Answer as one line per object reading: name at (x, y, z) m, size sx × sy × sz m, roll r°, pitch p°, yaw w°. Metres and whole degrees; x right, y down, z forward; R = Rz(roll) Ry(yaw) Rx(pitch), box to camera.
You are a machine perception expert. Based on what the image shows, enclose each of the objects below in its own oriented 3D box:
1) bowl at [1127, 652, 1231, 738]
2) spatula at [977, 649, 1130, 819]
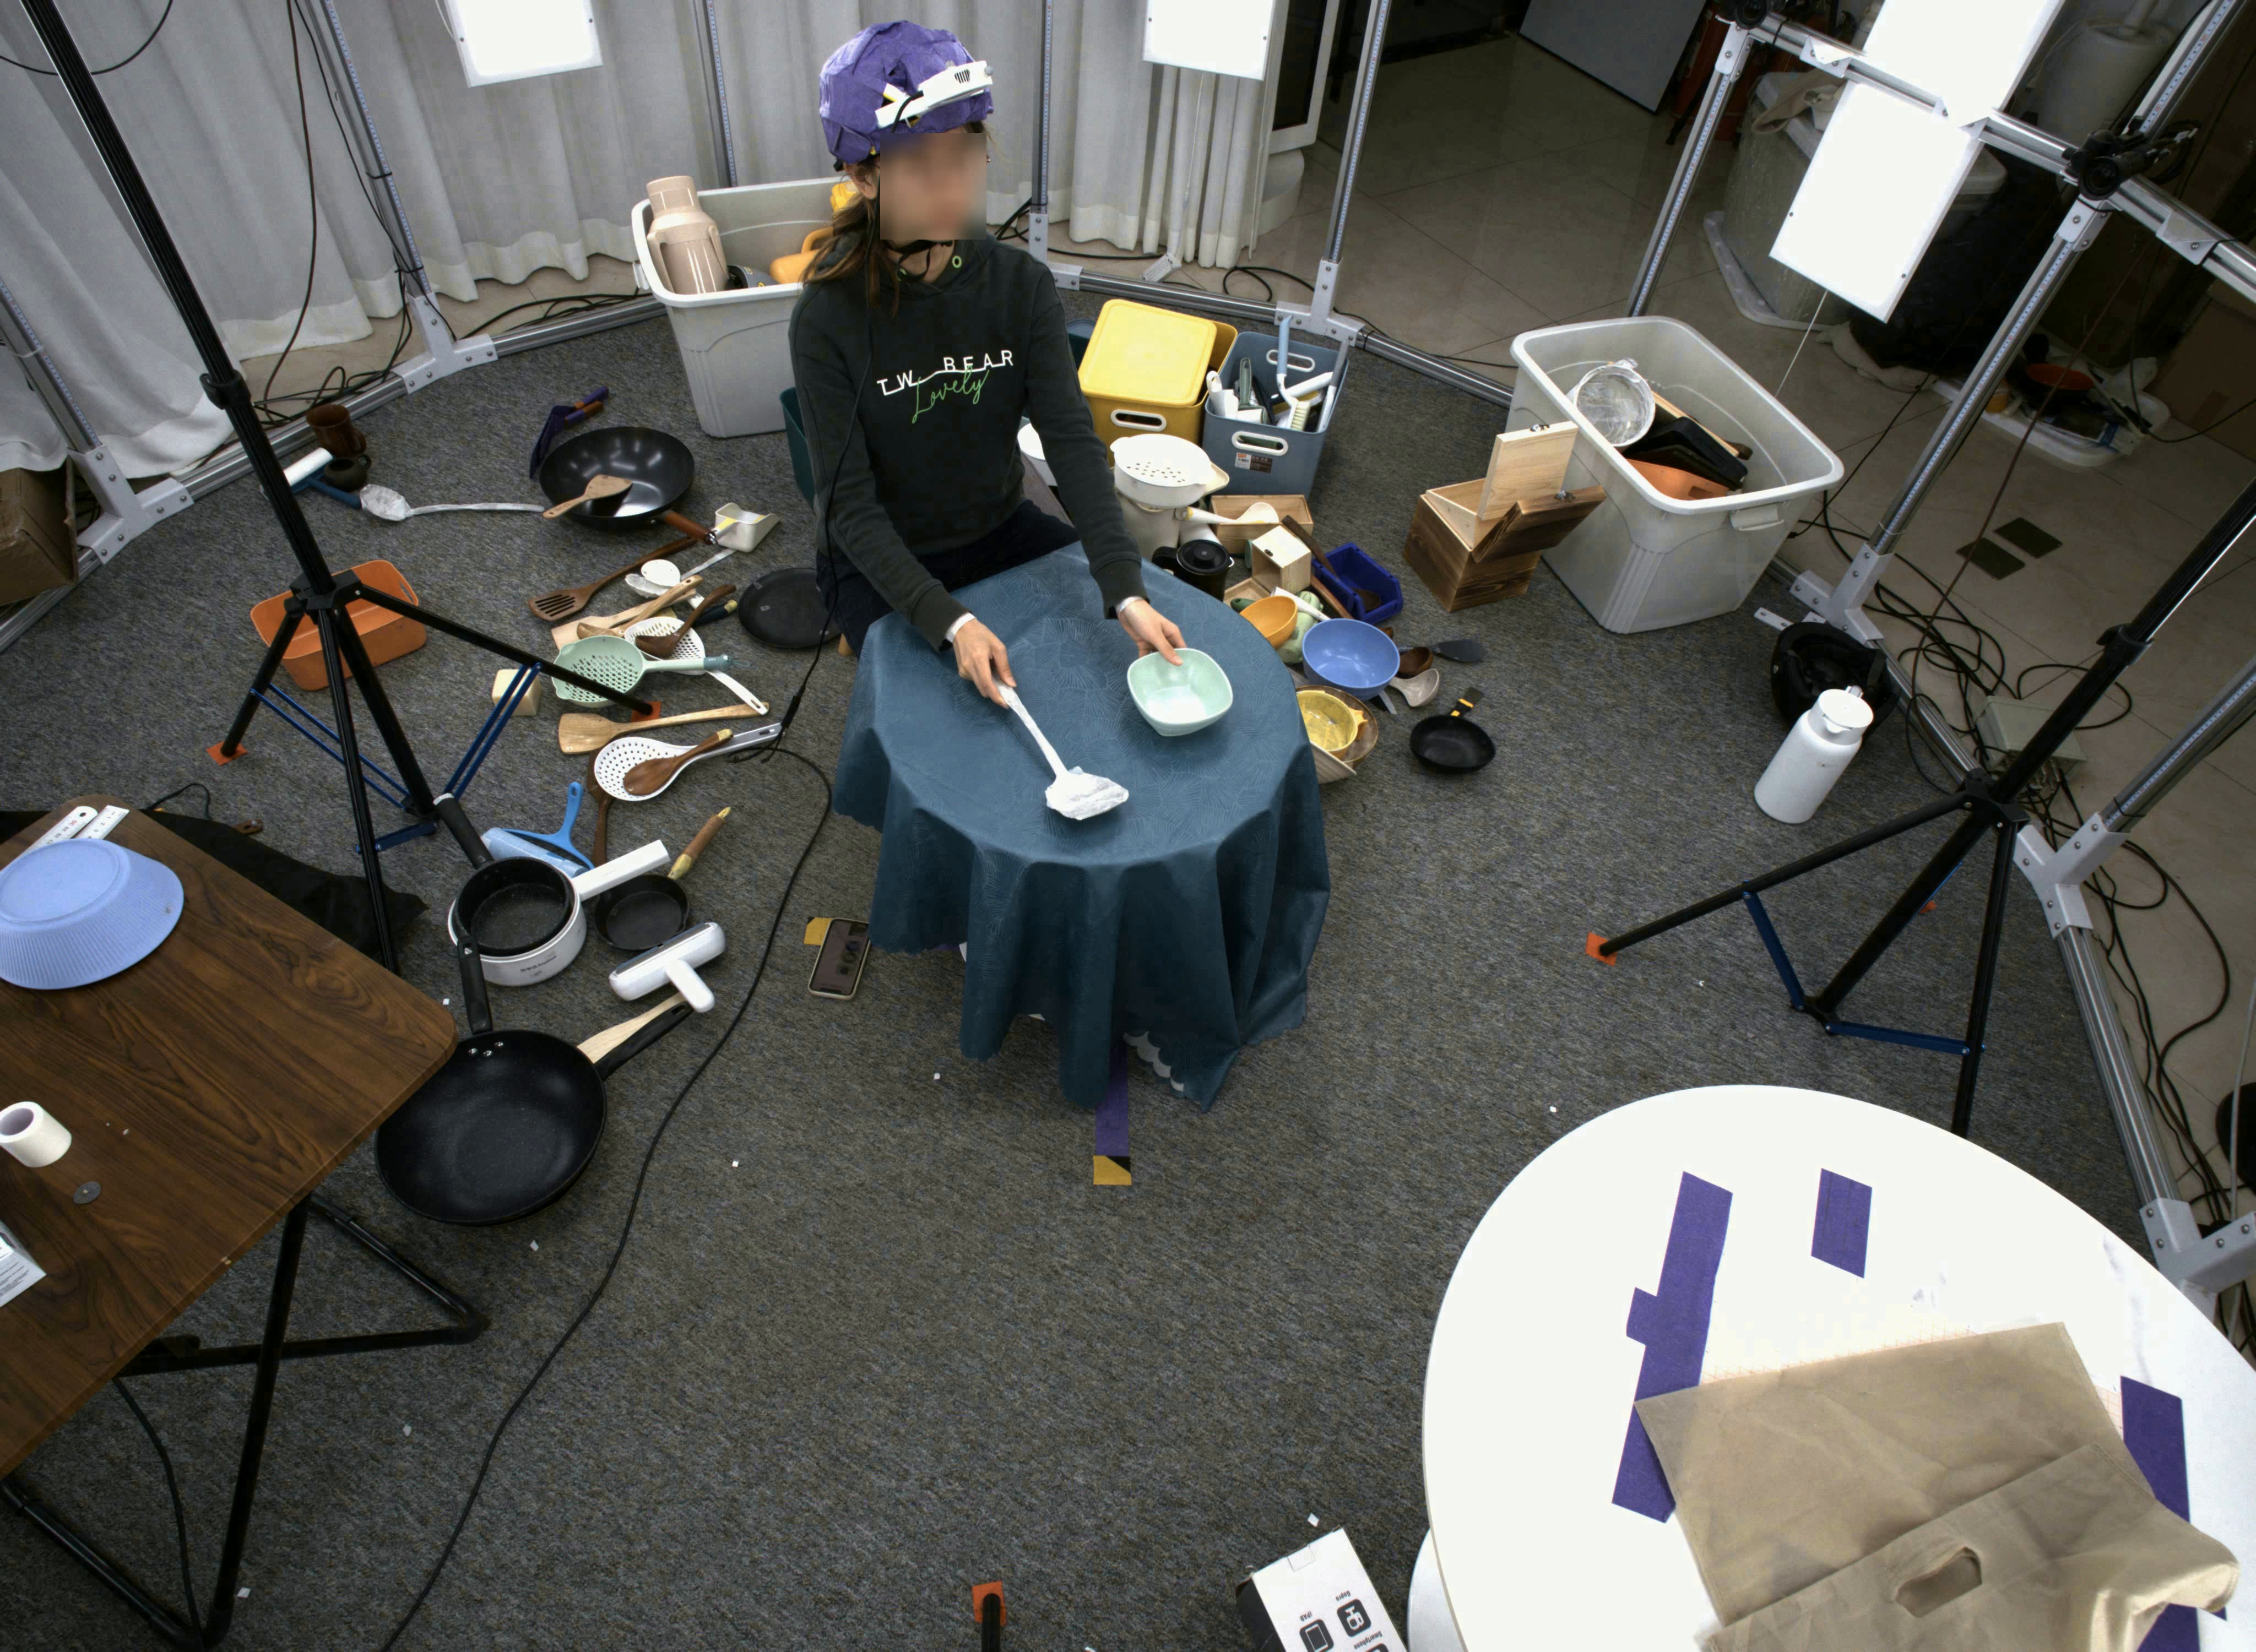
bowl at (0.068, -0.175, 1.804) m, size 0.151 × 0.057 × 0.155 m, roll 4°, pitch 50°, yaw -5°
spatula at (-0.123, -0.136, 1.754) m, size 0.099 × 0.044 × 0.372 m, roll -22°, pitch 57°, yaw -22°
